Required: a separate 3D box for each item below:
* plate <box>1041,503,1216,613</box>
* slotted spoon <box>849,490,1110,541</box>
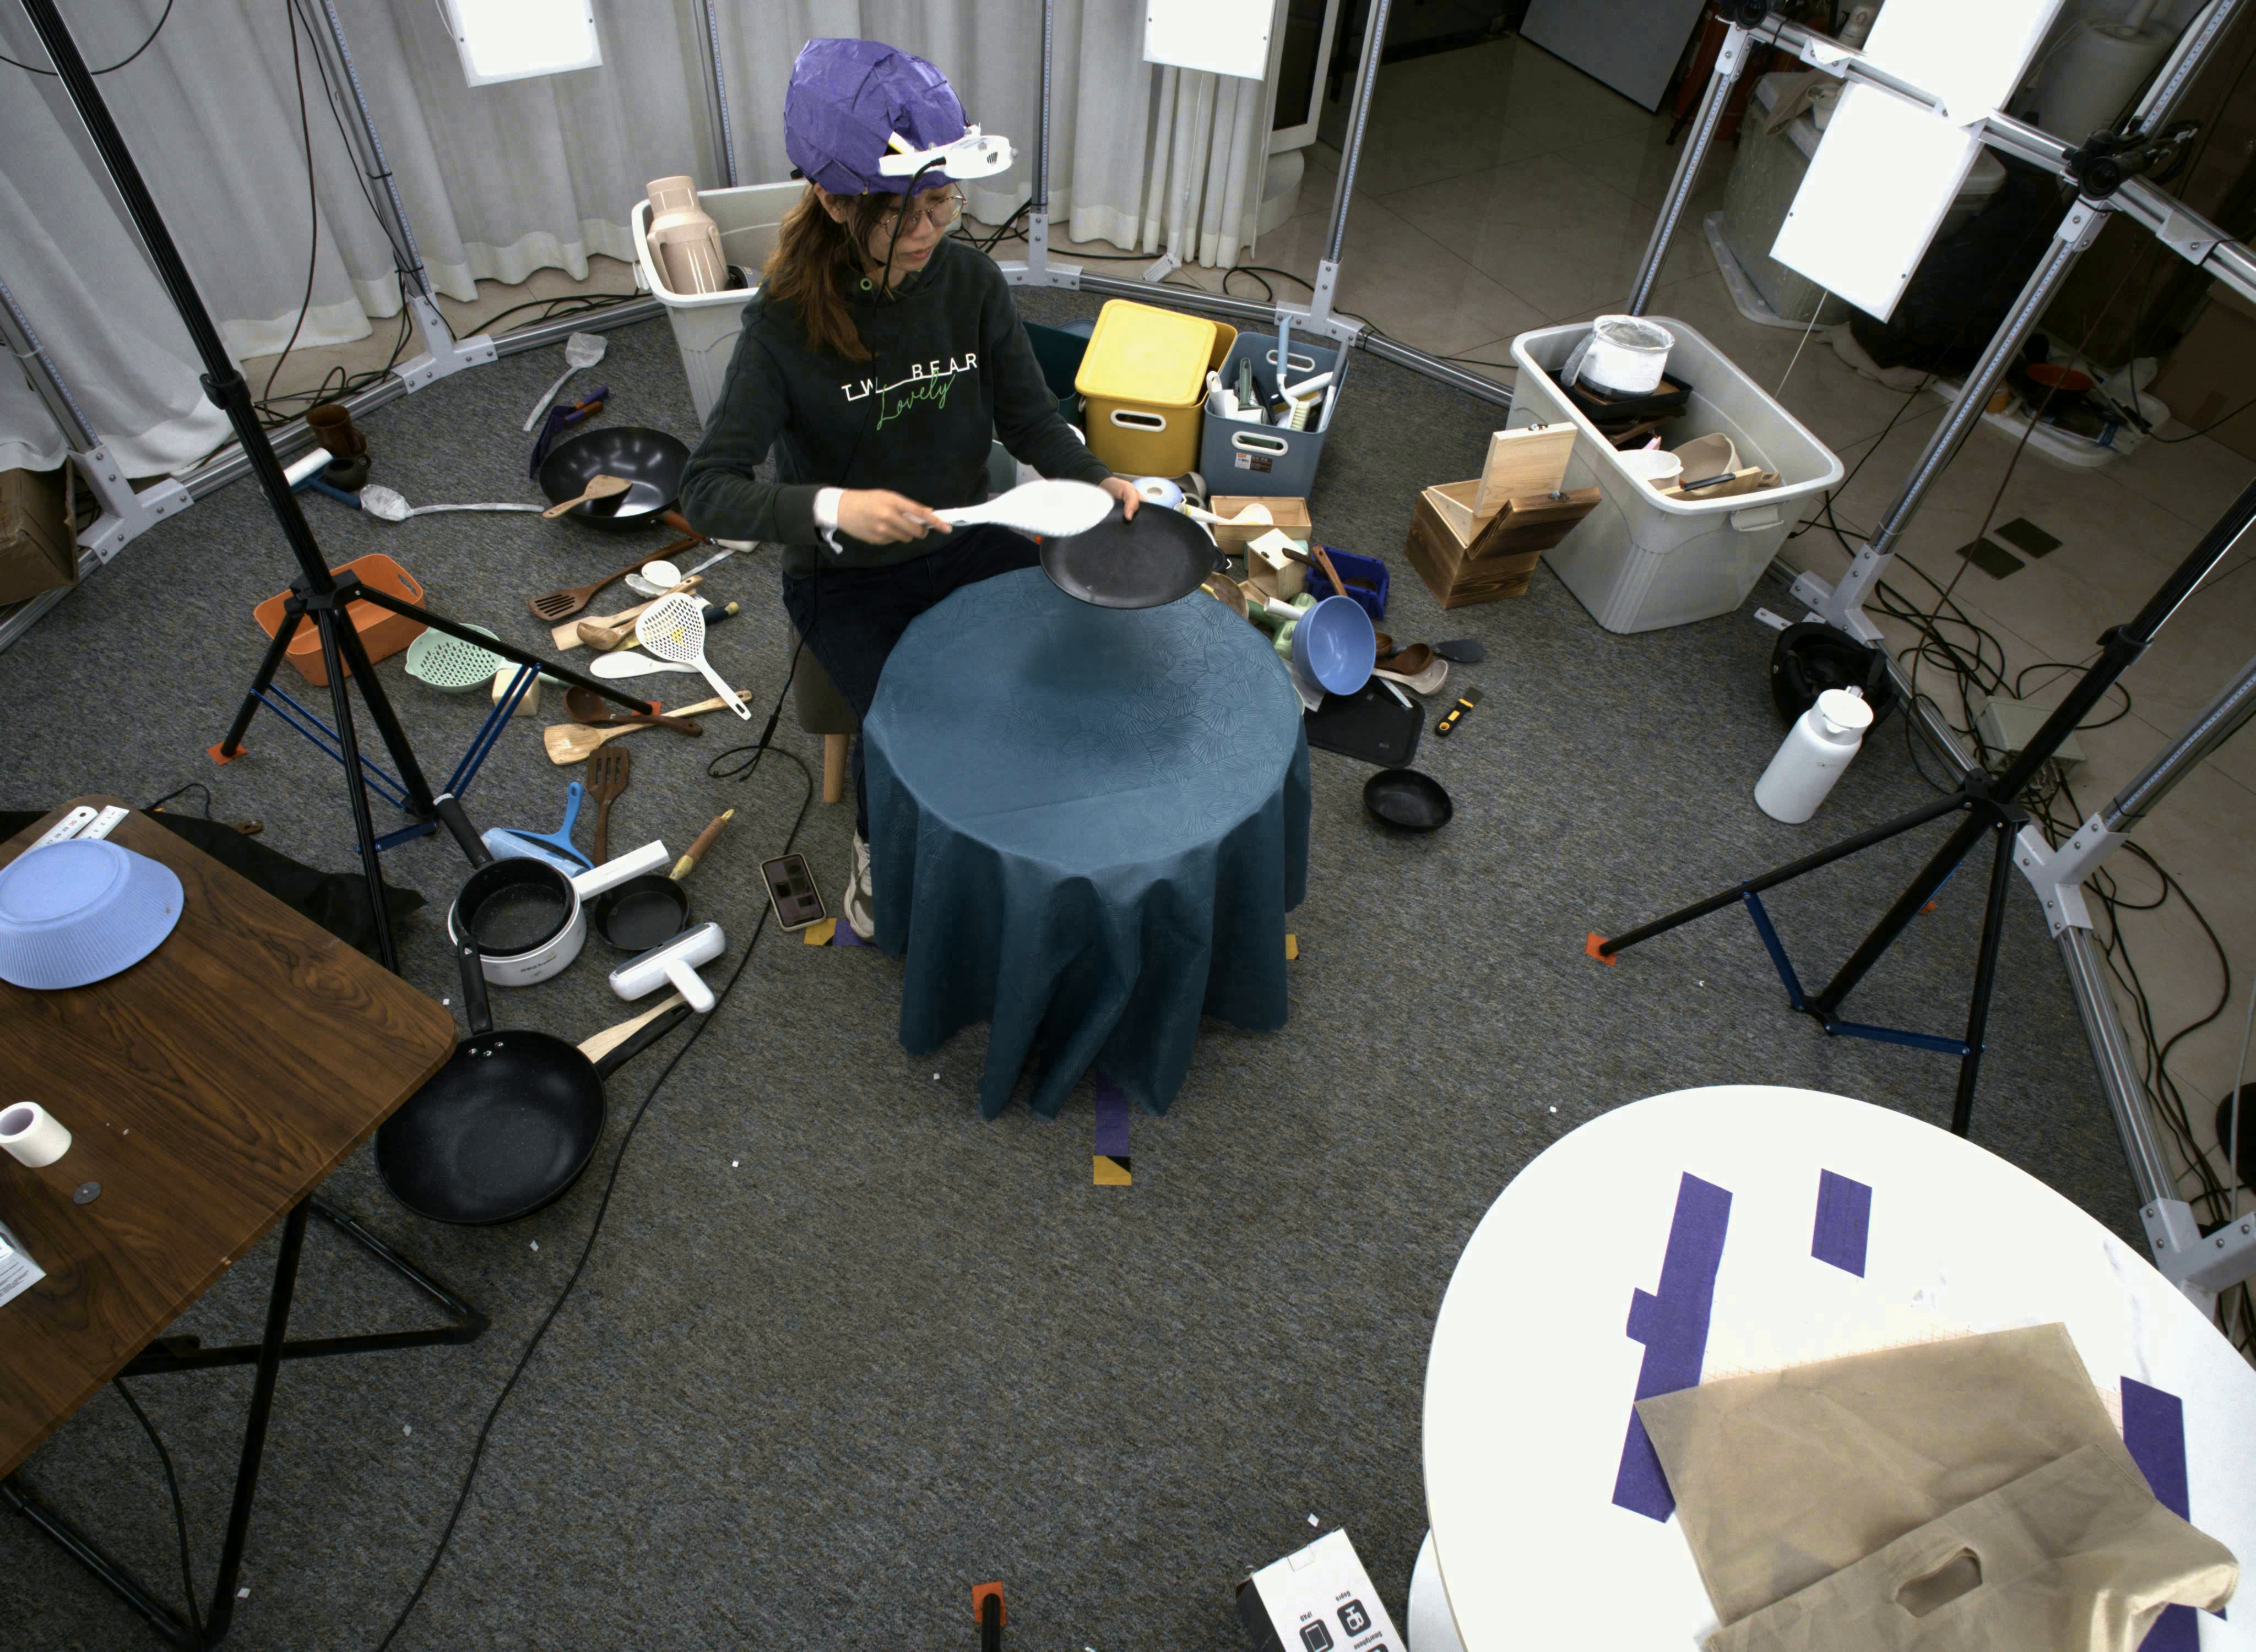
[{"bbox_3d":[0.000,-0.371,1.796,0.244,0.023,0.250,0,47,0],"label":"plate"},{"bbox_3d":[-0.193,-0.390,1.644,0.351,0.135,0.046,5,88,18],"label":"slotted spoon"}]
